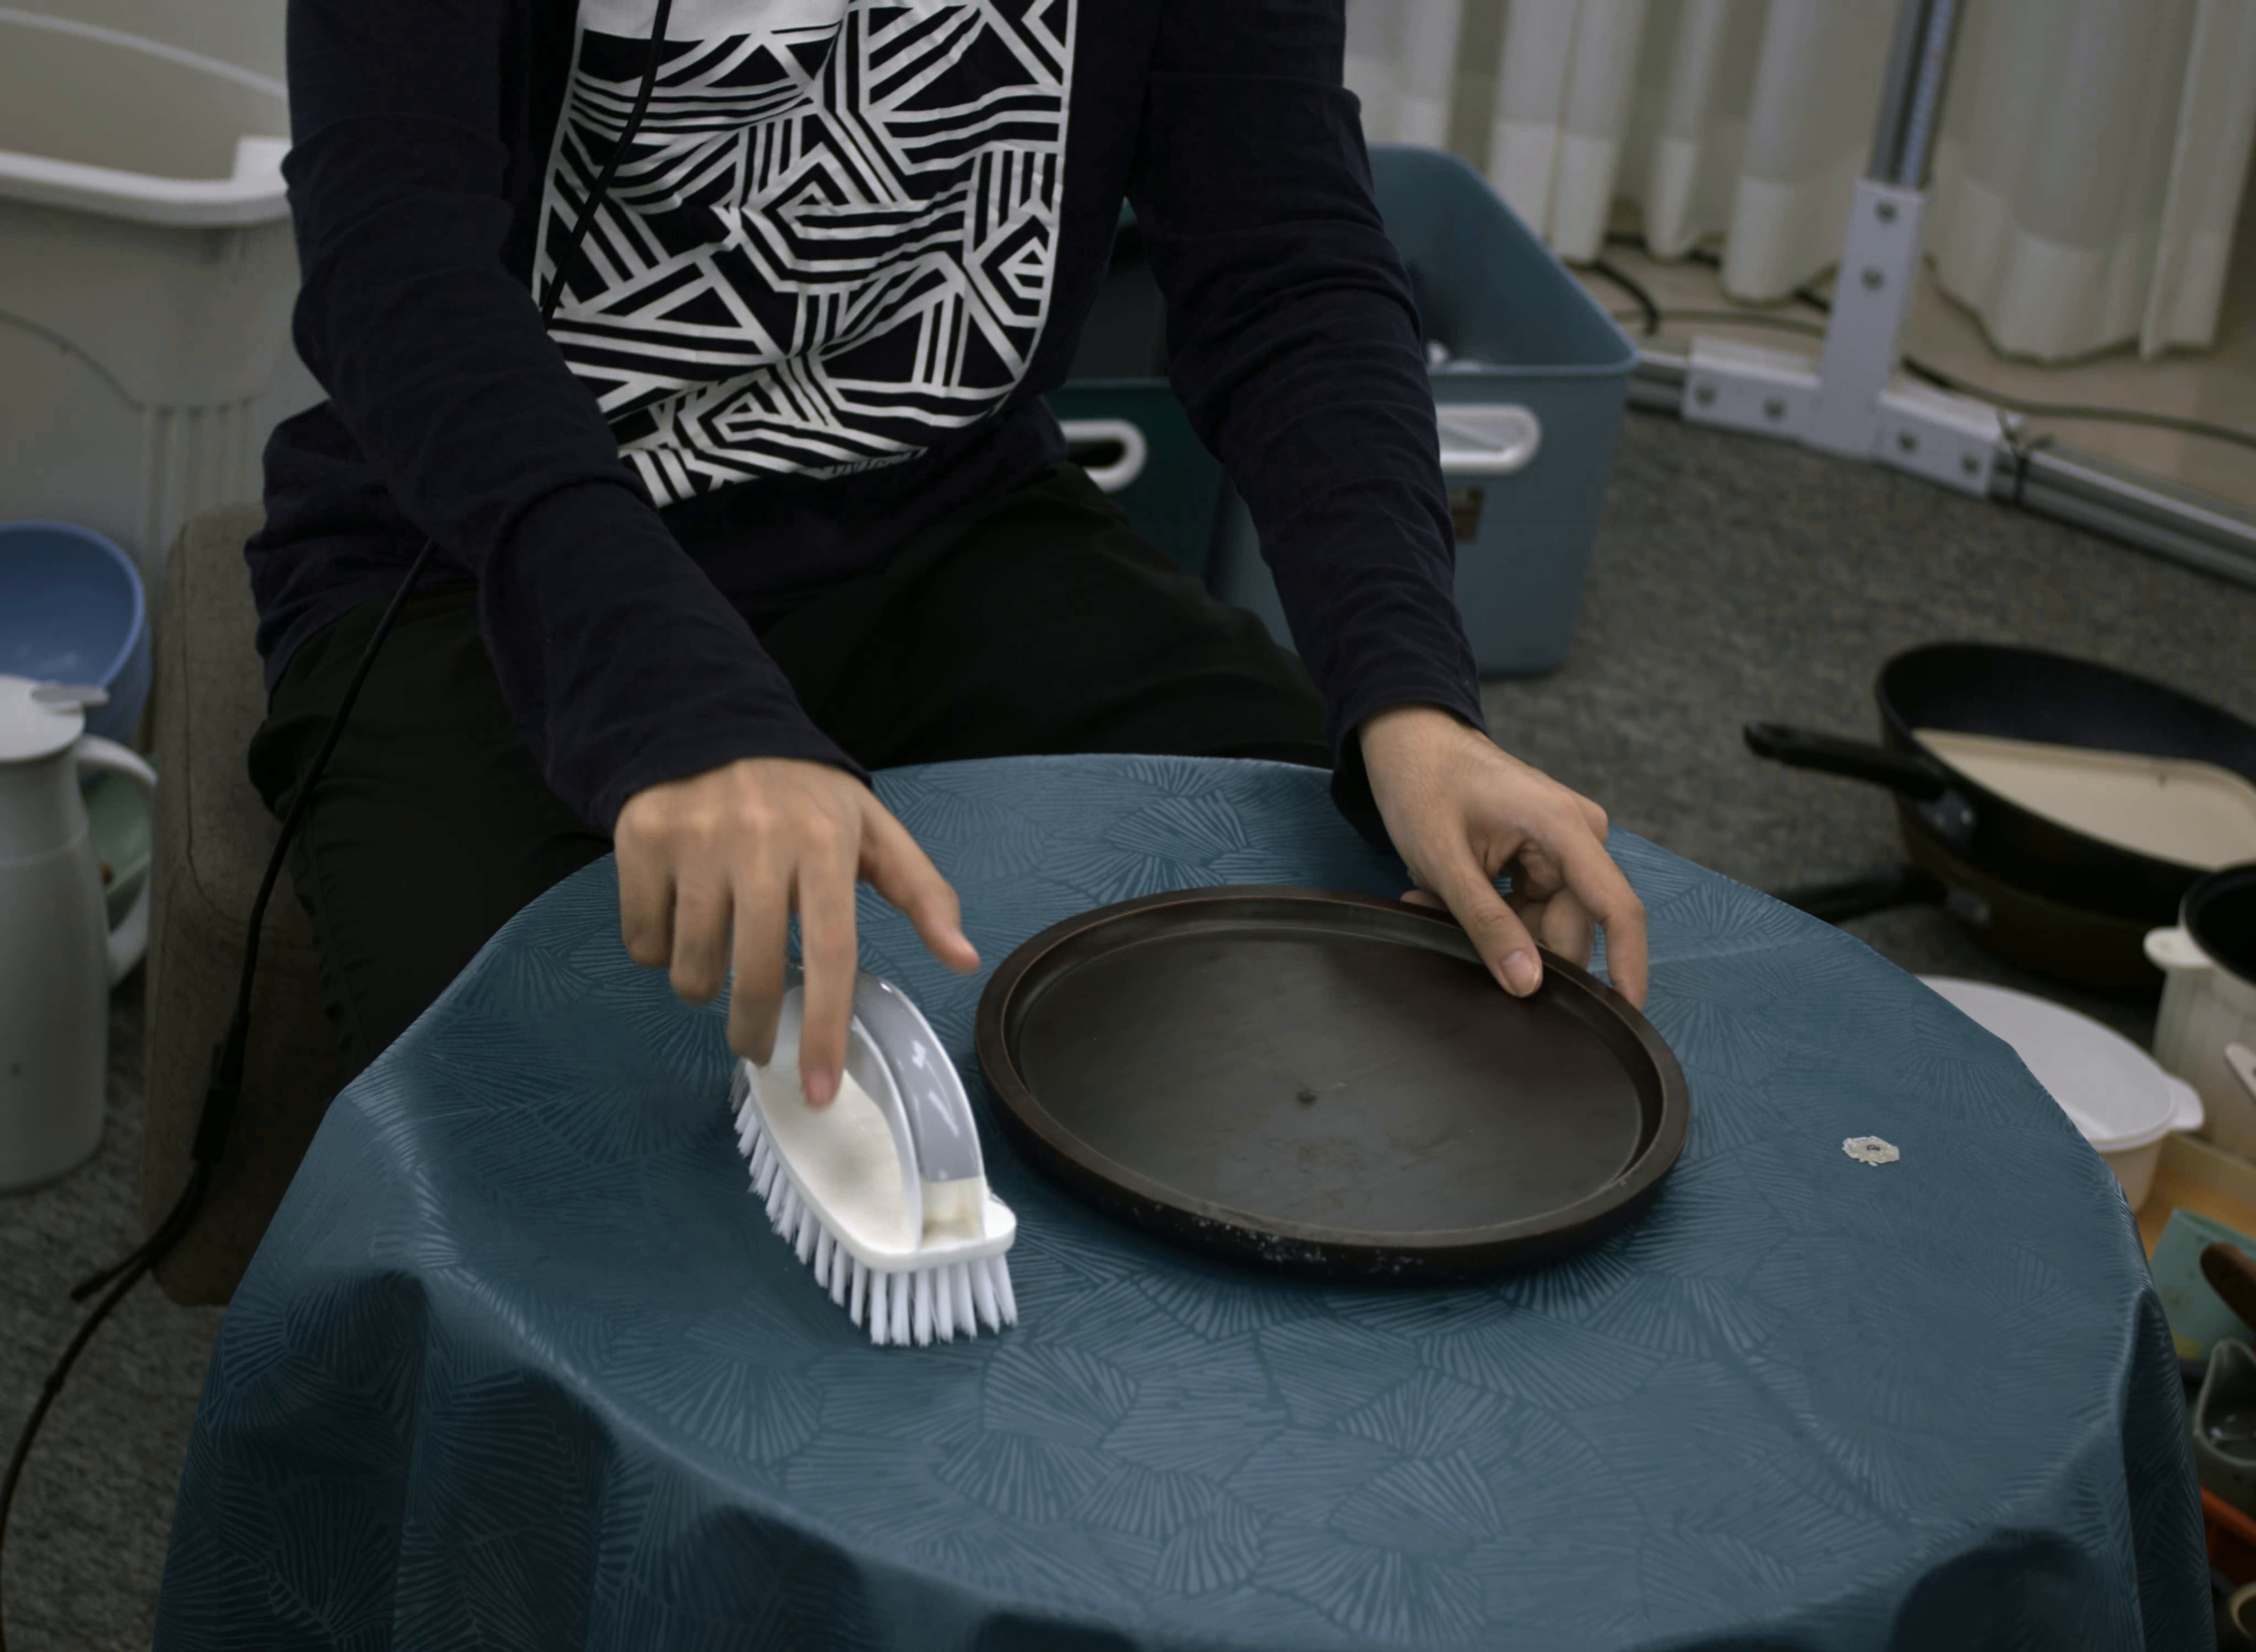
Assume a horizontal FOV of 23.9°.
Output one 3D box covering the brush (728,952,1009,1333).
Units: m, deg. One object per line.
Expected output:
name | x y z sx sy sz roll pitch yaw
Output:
brush | -0.093 0.089 1.755 0.061 0.094 0.177 -6 27 -25

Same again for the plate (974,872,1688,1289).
plate | 0.070 0.090 1.864 0.254 0.029 0.256 6 28 -3
